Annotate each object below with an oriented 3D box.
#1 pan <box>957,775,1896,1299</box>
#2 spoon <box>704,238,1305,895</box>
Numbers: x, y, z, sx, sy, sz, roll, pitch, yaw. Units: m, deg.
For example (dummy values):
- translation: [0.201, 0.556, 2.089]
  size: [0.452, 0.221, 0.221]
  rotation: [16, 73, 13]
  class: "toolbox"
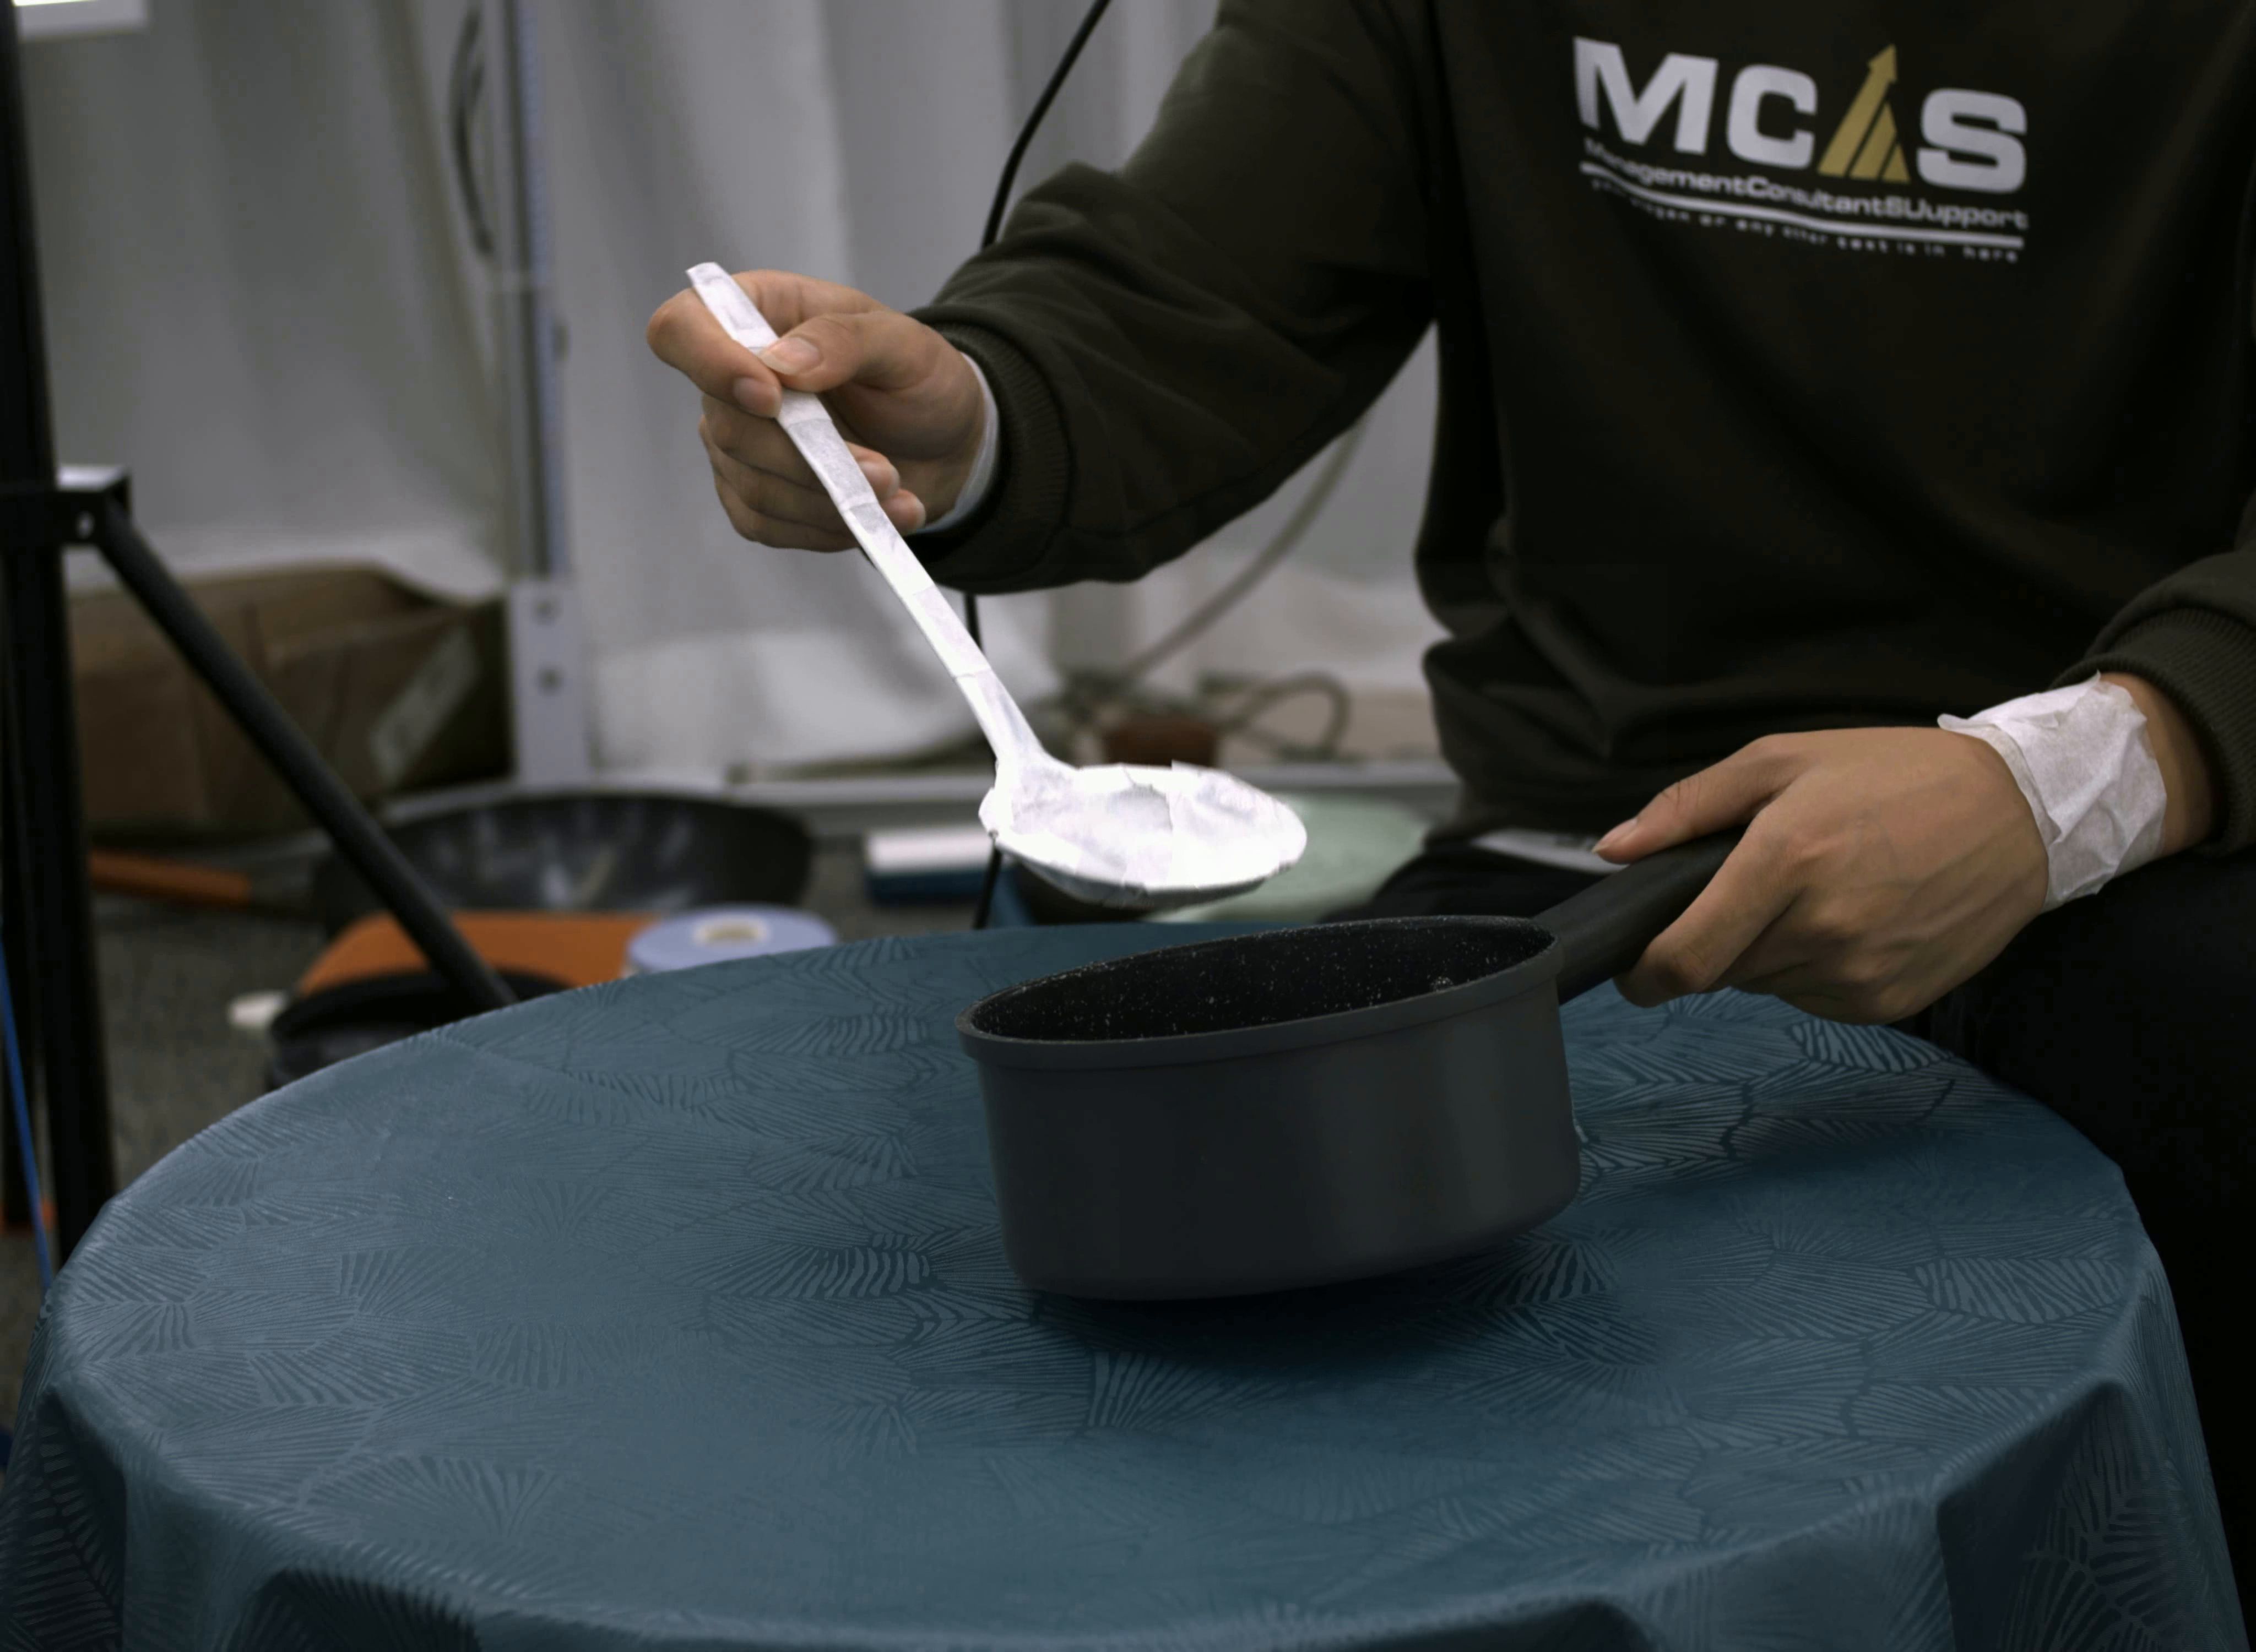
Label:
- translation: [0.102, 0.060, 1.522]
  size: [0.321, 0.086, 0.175]
  rotation: [-15, 10, -36]
  class: "pan"
- translation: [-0.042, -0.083, 1.542]
  size: [0.098, 0.060, 0.282]
  rotation: [-10, 58, -39]
  class: "spoon"
